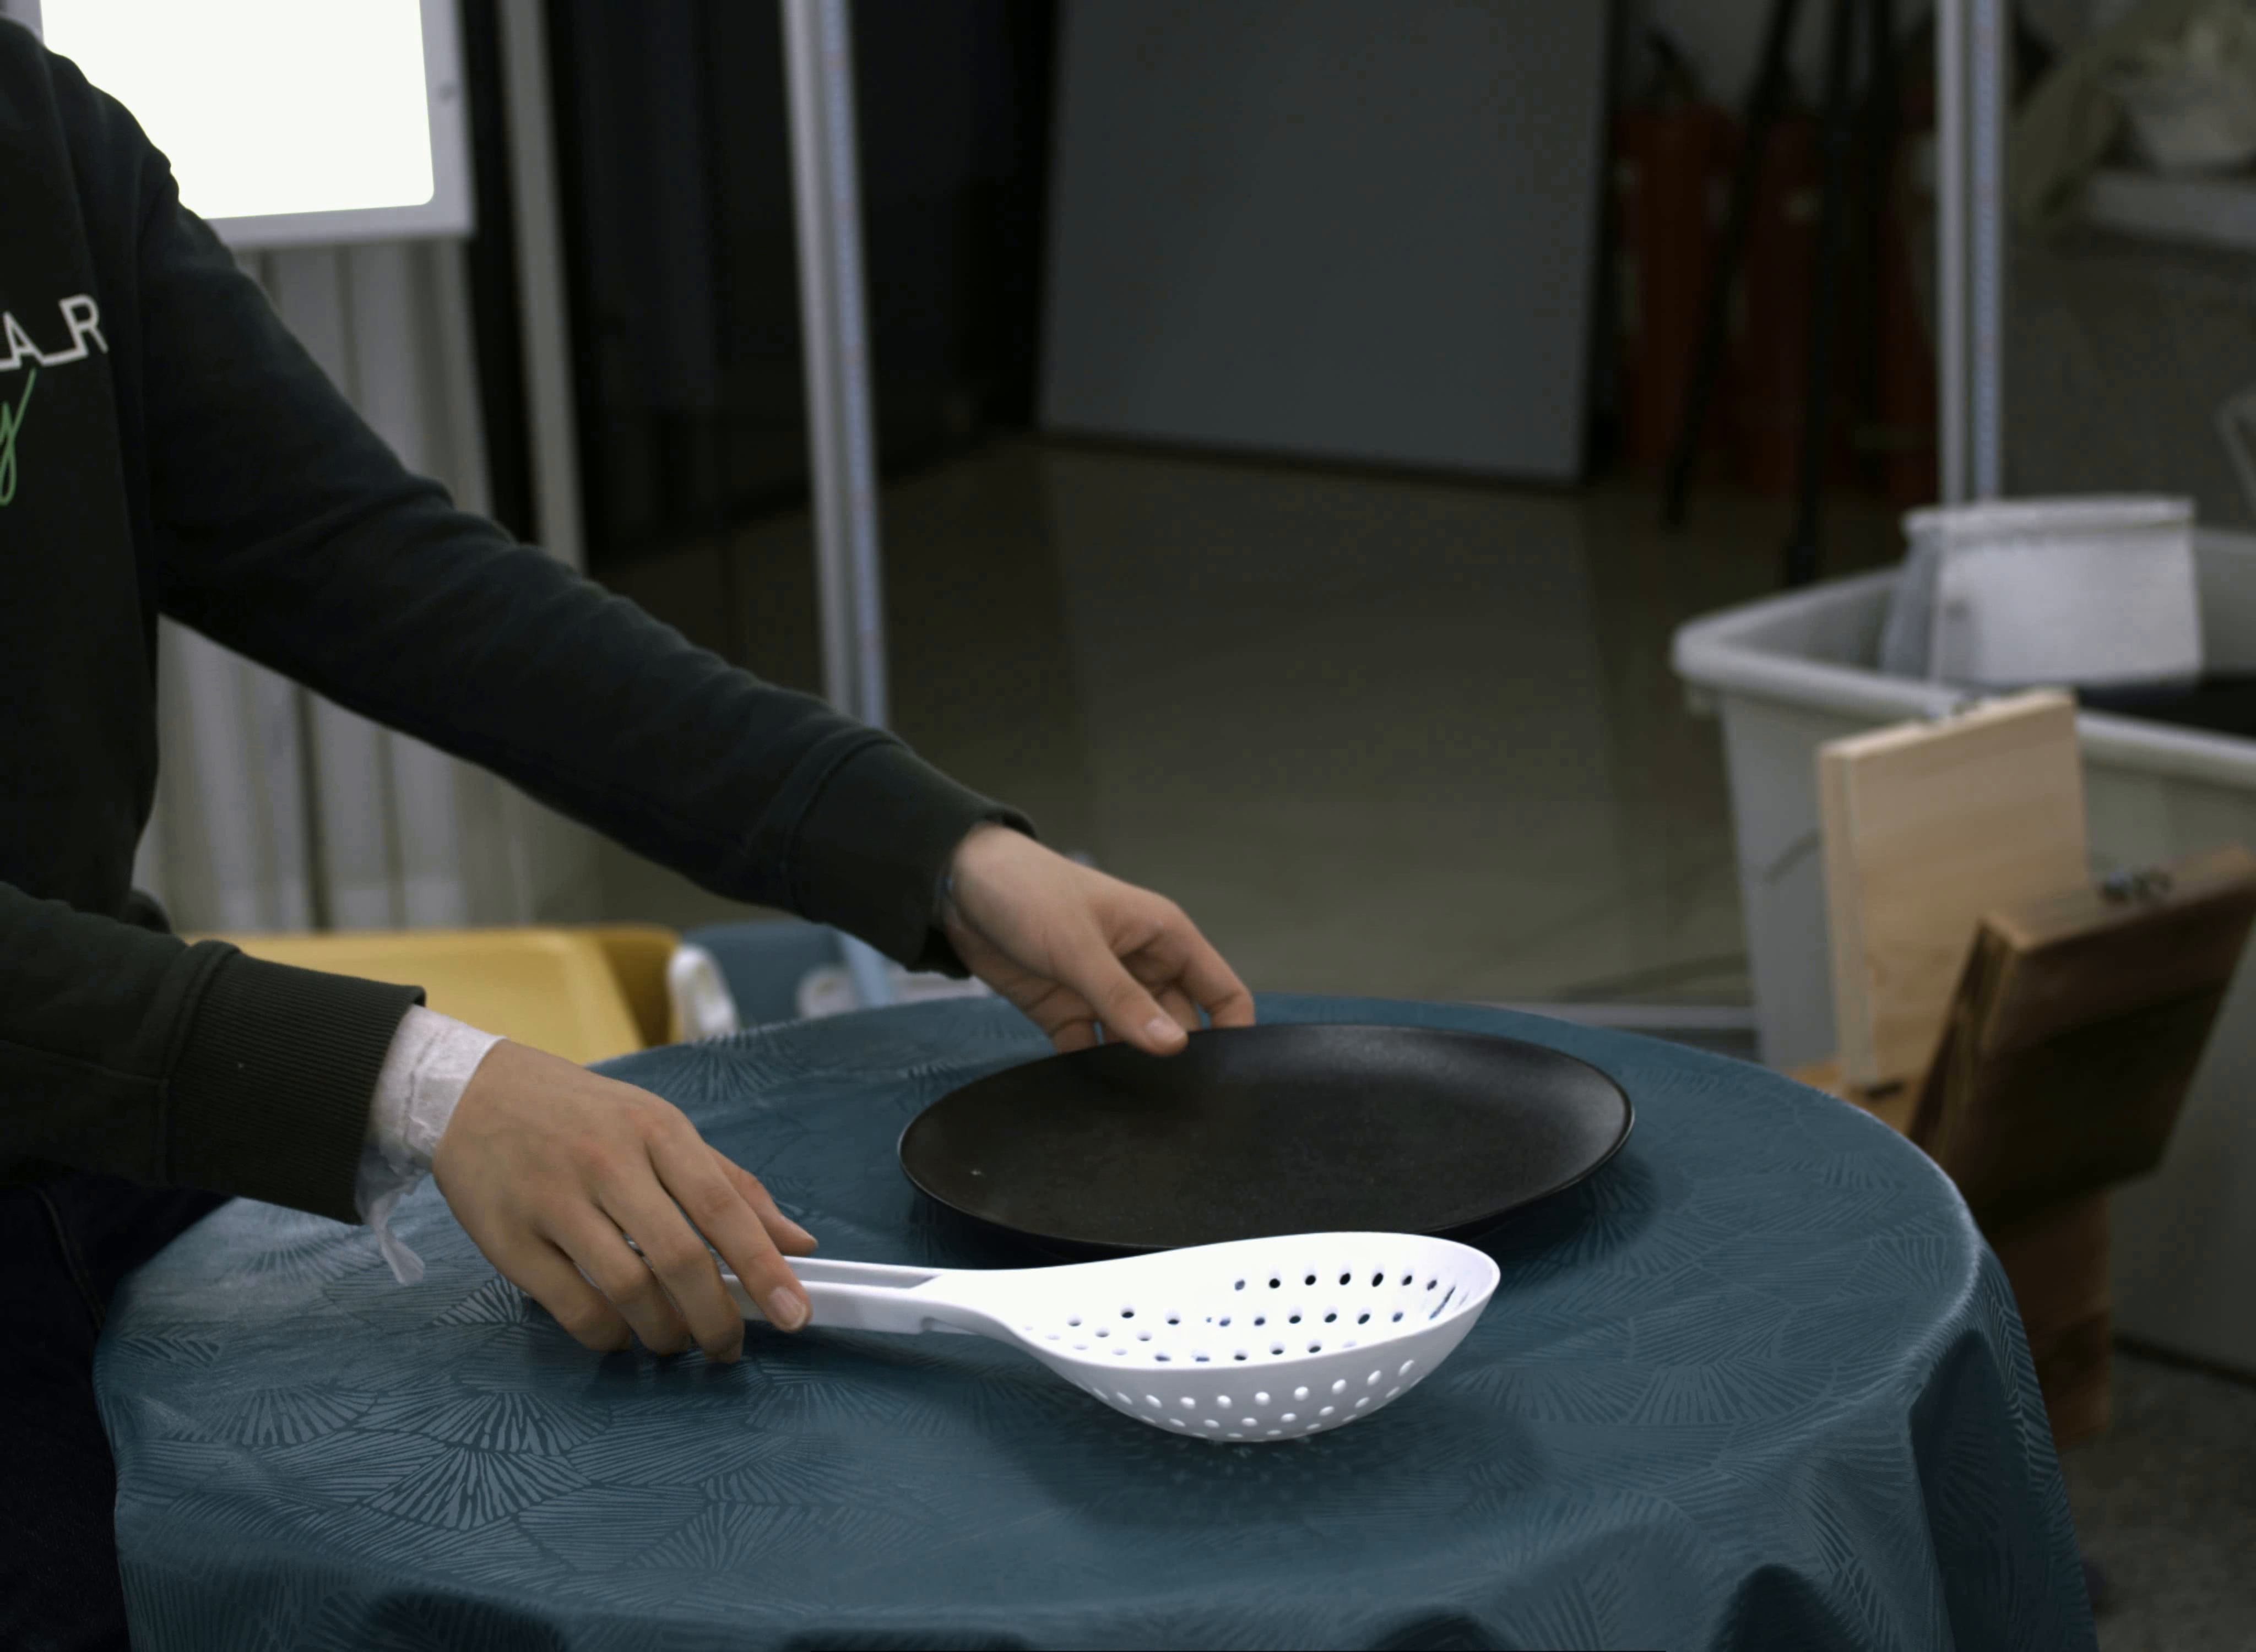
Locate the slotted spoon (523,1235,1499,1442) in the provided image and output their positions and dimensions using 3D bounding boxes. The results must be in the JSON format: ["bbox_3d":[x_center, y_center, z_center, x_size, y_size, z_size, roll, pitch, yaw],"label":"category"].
[{"bbox_3d":[-0.046,0.142,1.606,0.352,0.046,0.133,5,14,37],"label":"slotted spoon"}]

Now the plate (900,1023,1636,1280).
[{"bbox_3d":[0.046,0.109,1.759,0.241,0.024,0.245,-4,14,0],"label":"plate"}]
